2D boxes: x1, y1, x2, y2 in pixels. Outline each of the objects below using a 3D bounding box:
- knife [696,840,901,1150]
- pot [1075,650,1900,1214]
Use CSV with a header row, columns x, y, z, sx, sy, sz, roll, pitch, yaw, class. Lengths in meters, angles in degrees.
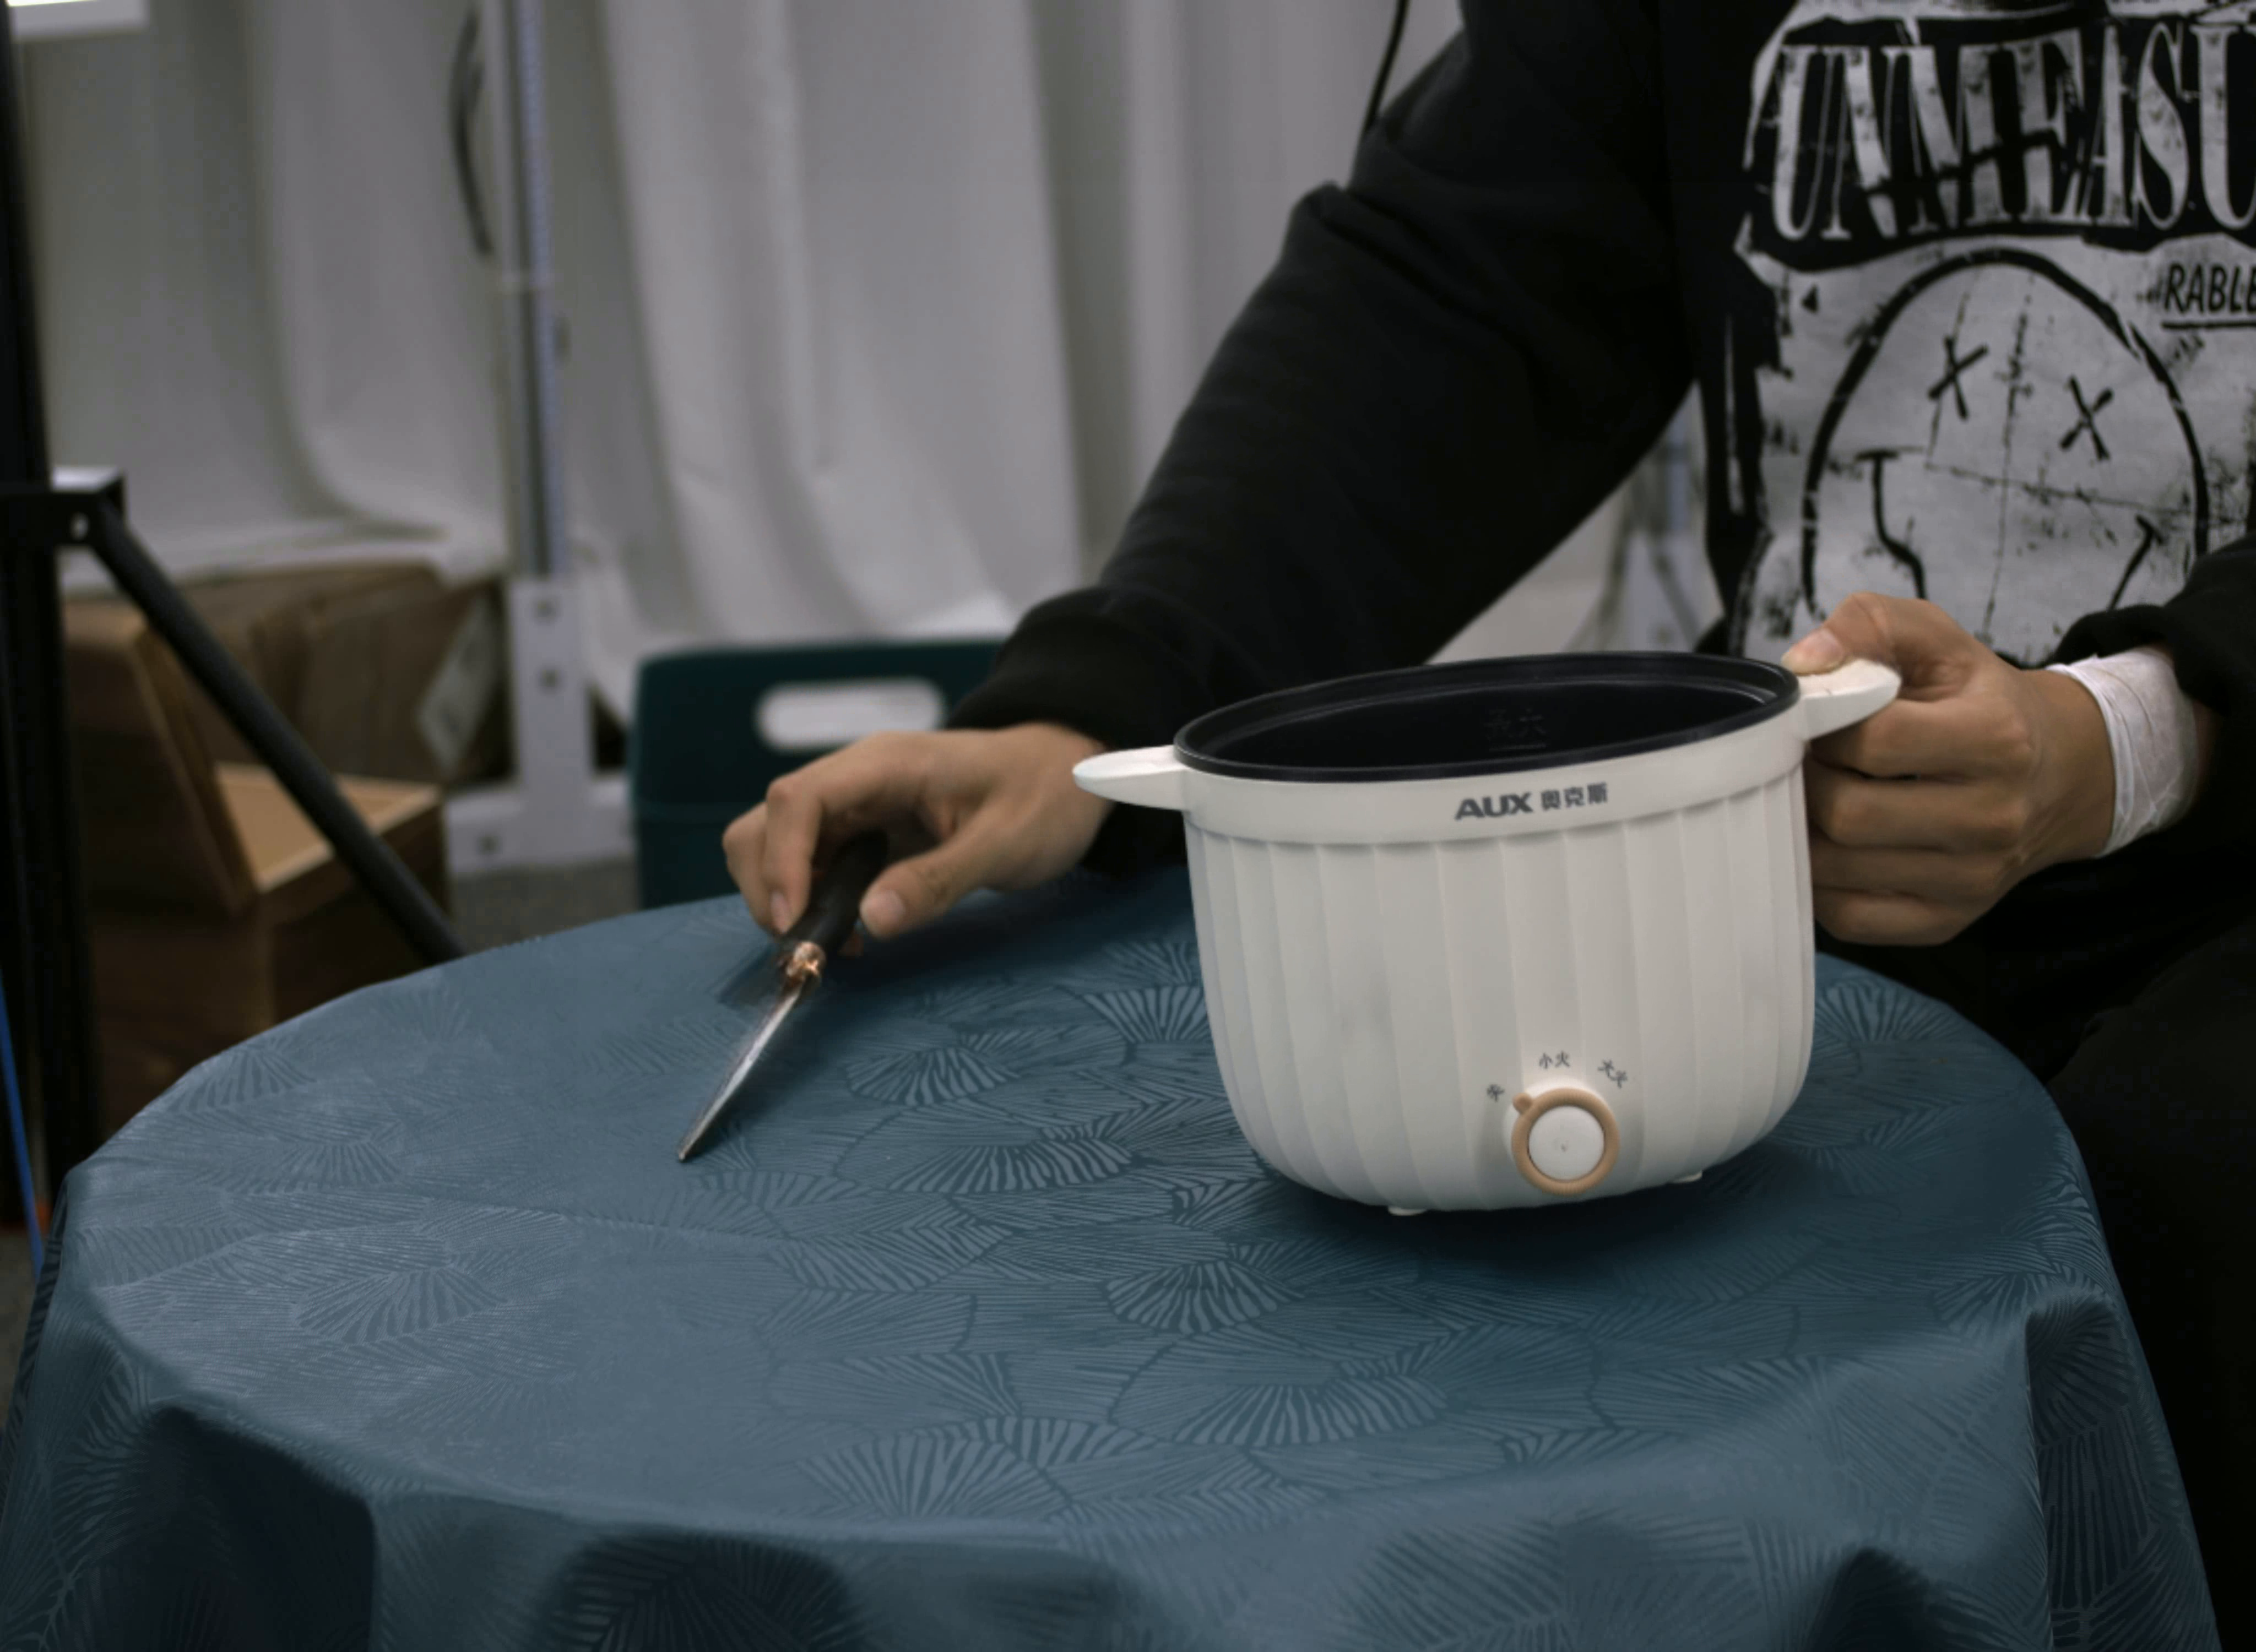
x,y,z,sx,sy,sz,roll,pitch,yaw,class
-0.108,0.054,1.694,0.026,0.017,0.224,-27,15,23,knife
0.112,0.031,1.526,0.239,0.143,0.191,-8,6,-2,pot
